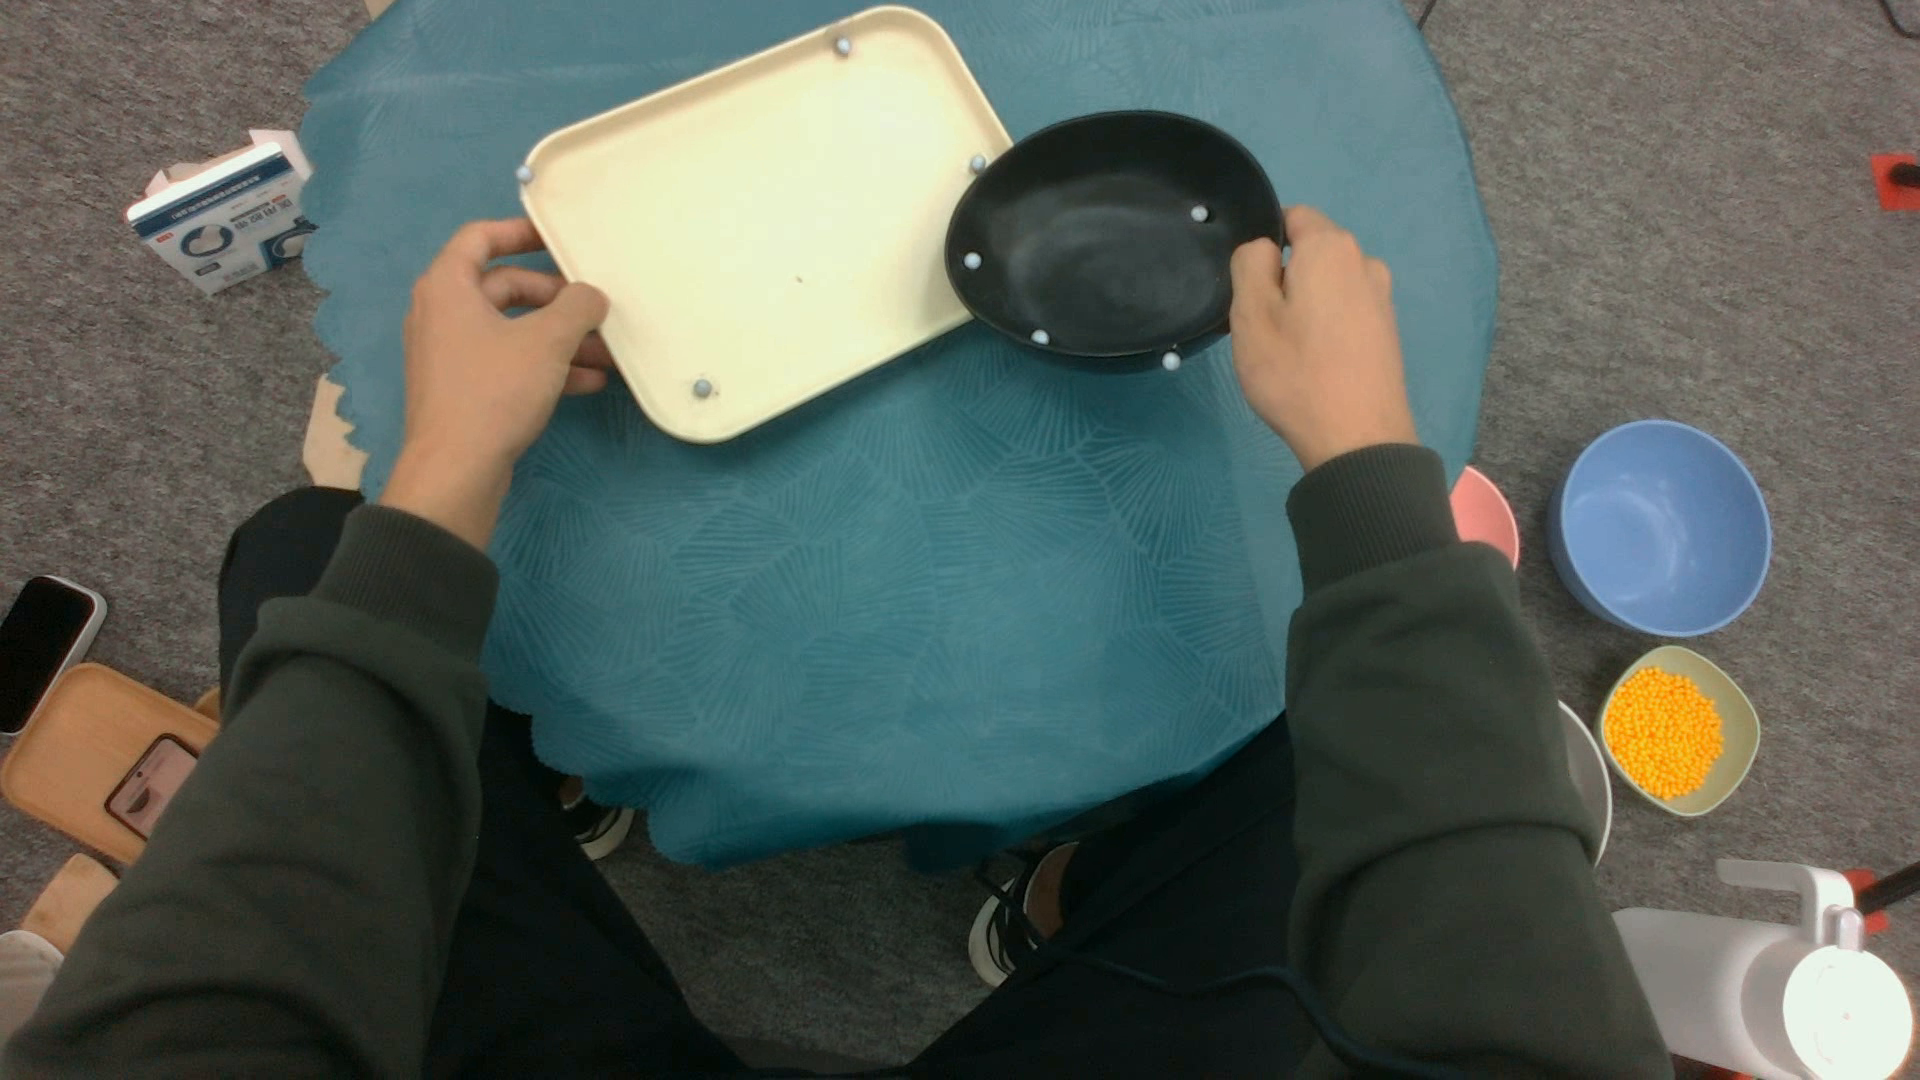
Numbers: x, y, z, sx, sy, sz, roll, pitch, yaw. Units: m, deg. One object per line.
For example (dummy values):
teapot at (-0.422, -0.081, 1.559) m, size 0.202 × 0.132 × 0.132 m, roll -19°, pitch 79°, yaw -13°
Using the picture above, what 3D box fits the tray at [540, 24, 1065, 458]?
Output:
tray at (-0.076, -0.157, 0.707) m, size 0.240 × 0.017 × 0.171 m, roll -30°, pitch 86°, yaw -18°

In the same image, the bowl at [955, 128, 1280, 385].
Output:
bowl at (0.078, -0.130, 0.683) m, size 0.170 × 0.066 × 0.138 m, roll 16°, pitch 71°, yaw 28°
